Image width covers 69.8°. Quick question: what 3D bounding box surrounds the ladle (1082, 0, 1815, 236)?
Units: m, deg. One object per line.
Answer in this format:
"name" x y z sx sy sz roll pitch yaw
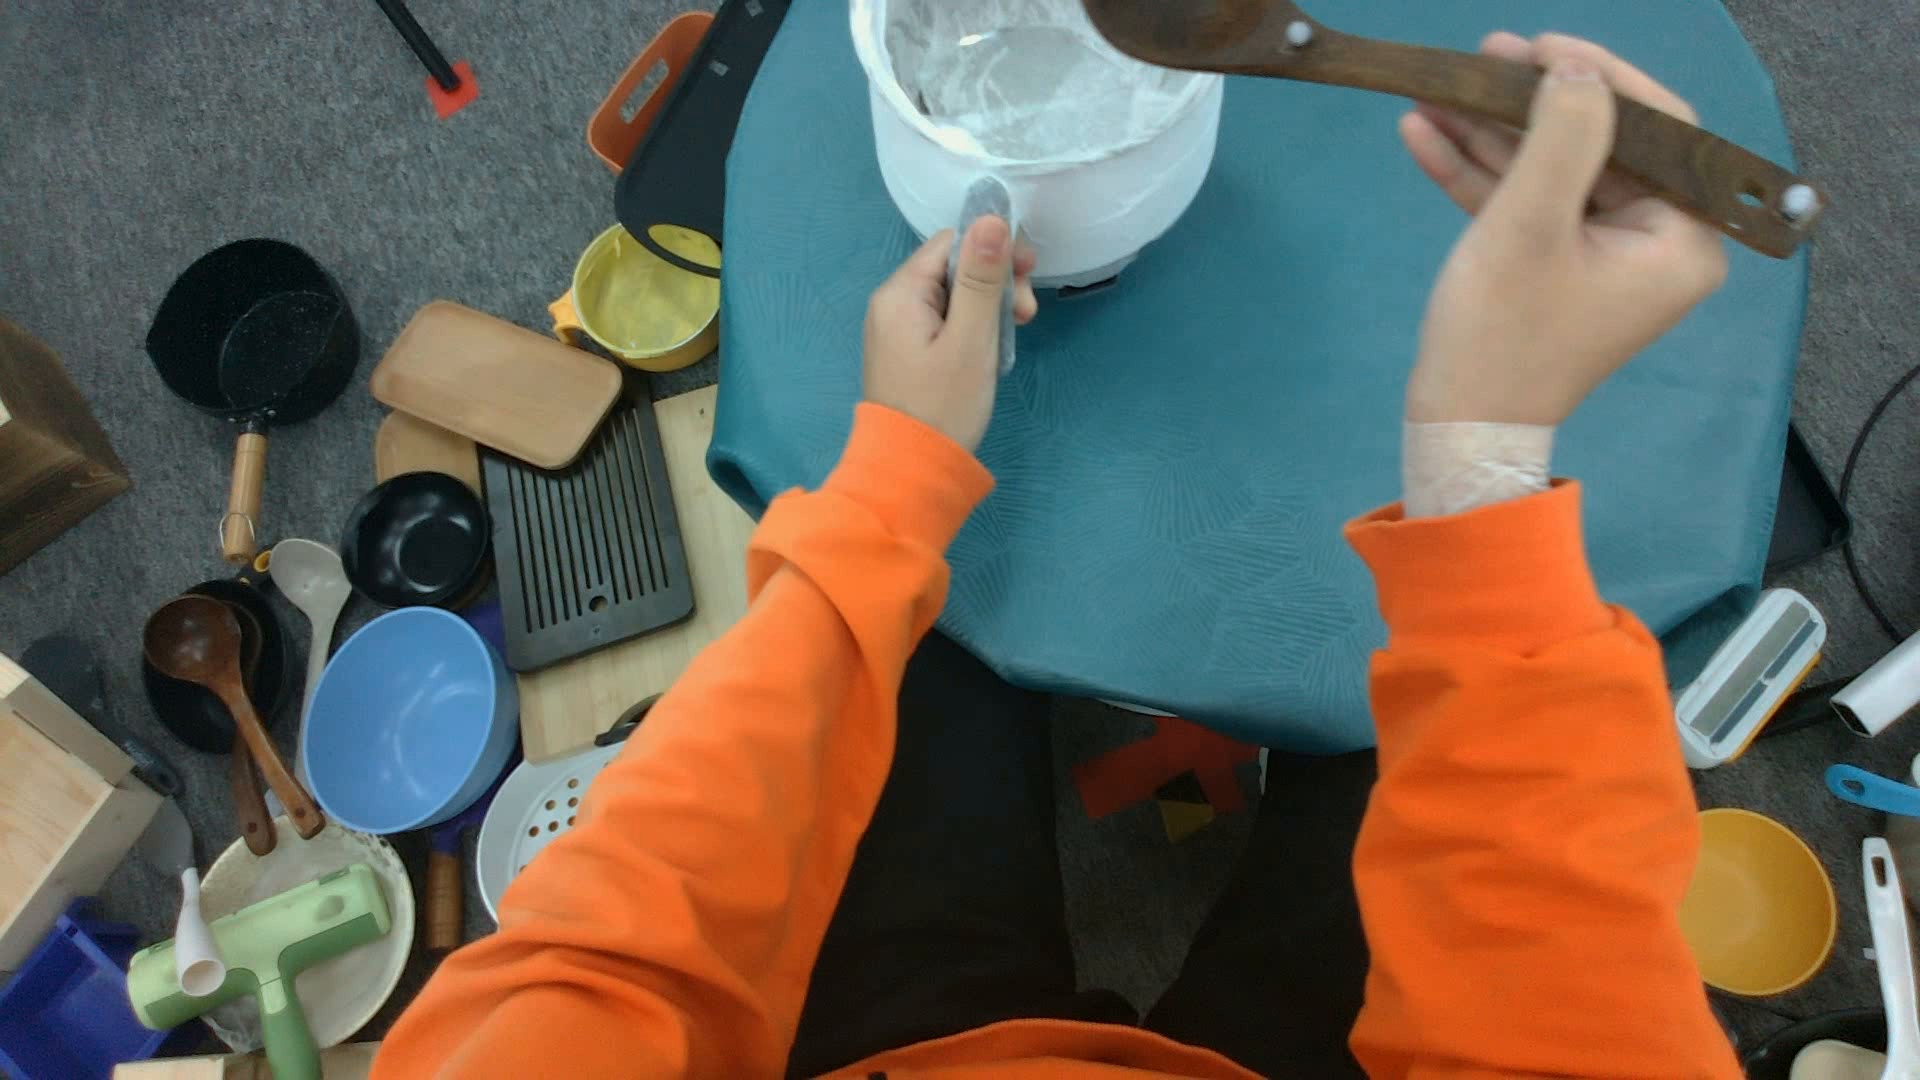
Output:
"ladle" 0.150 -0.176 0.471 0.274 0.071 0.076 36 86 37

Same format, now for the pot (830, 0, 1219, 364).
"pot" 0.027 -0.209 0.675 0.178 0.136 0.234 11 73 7
